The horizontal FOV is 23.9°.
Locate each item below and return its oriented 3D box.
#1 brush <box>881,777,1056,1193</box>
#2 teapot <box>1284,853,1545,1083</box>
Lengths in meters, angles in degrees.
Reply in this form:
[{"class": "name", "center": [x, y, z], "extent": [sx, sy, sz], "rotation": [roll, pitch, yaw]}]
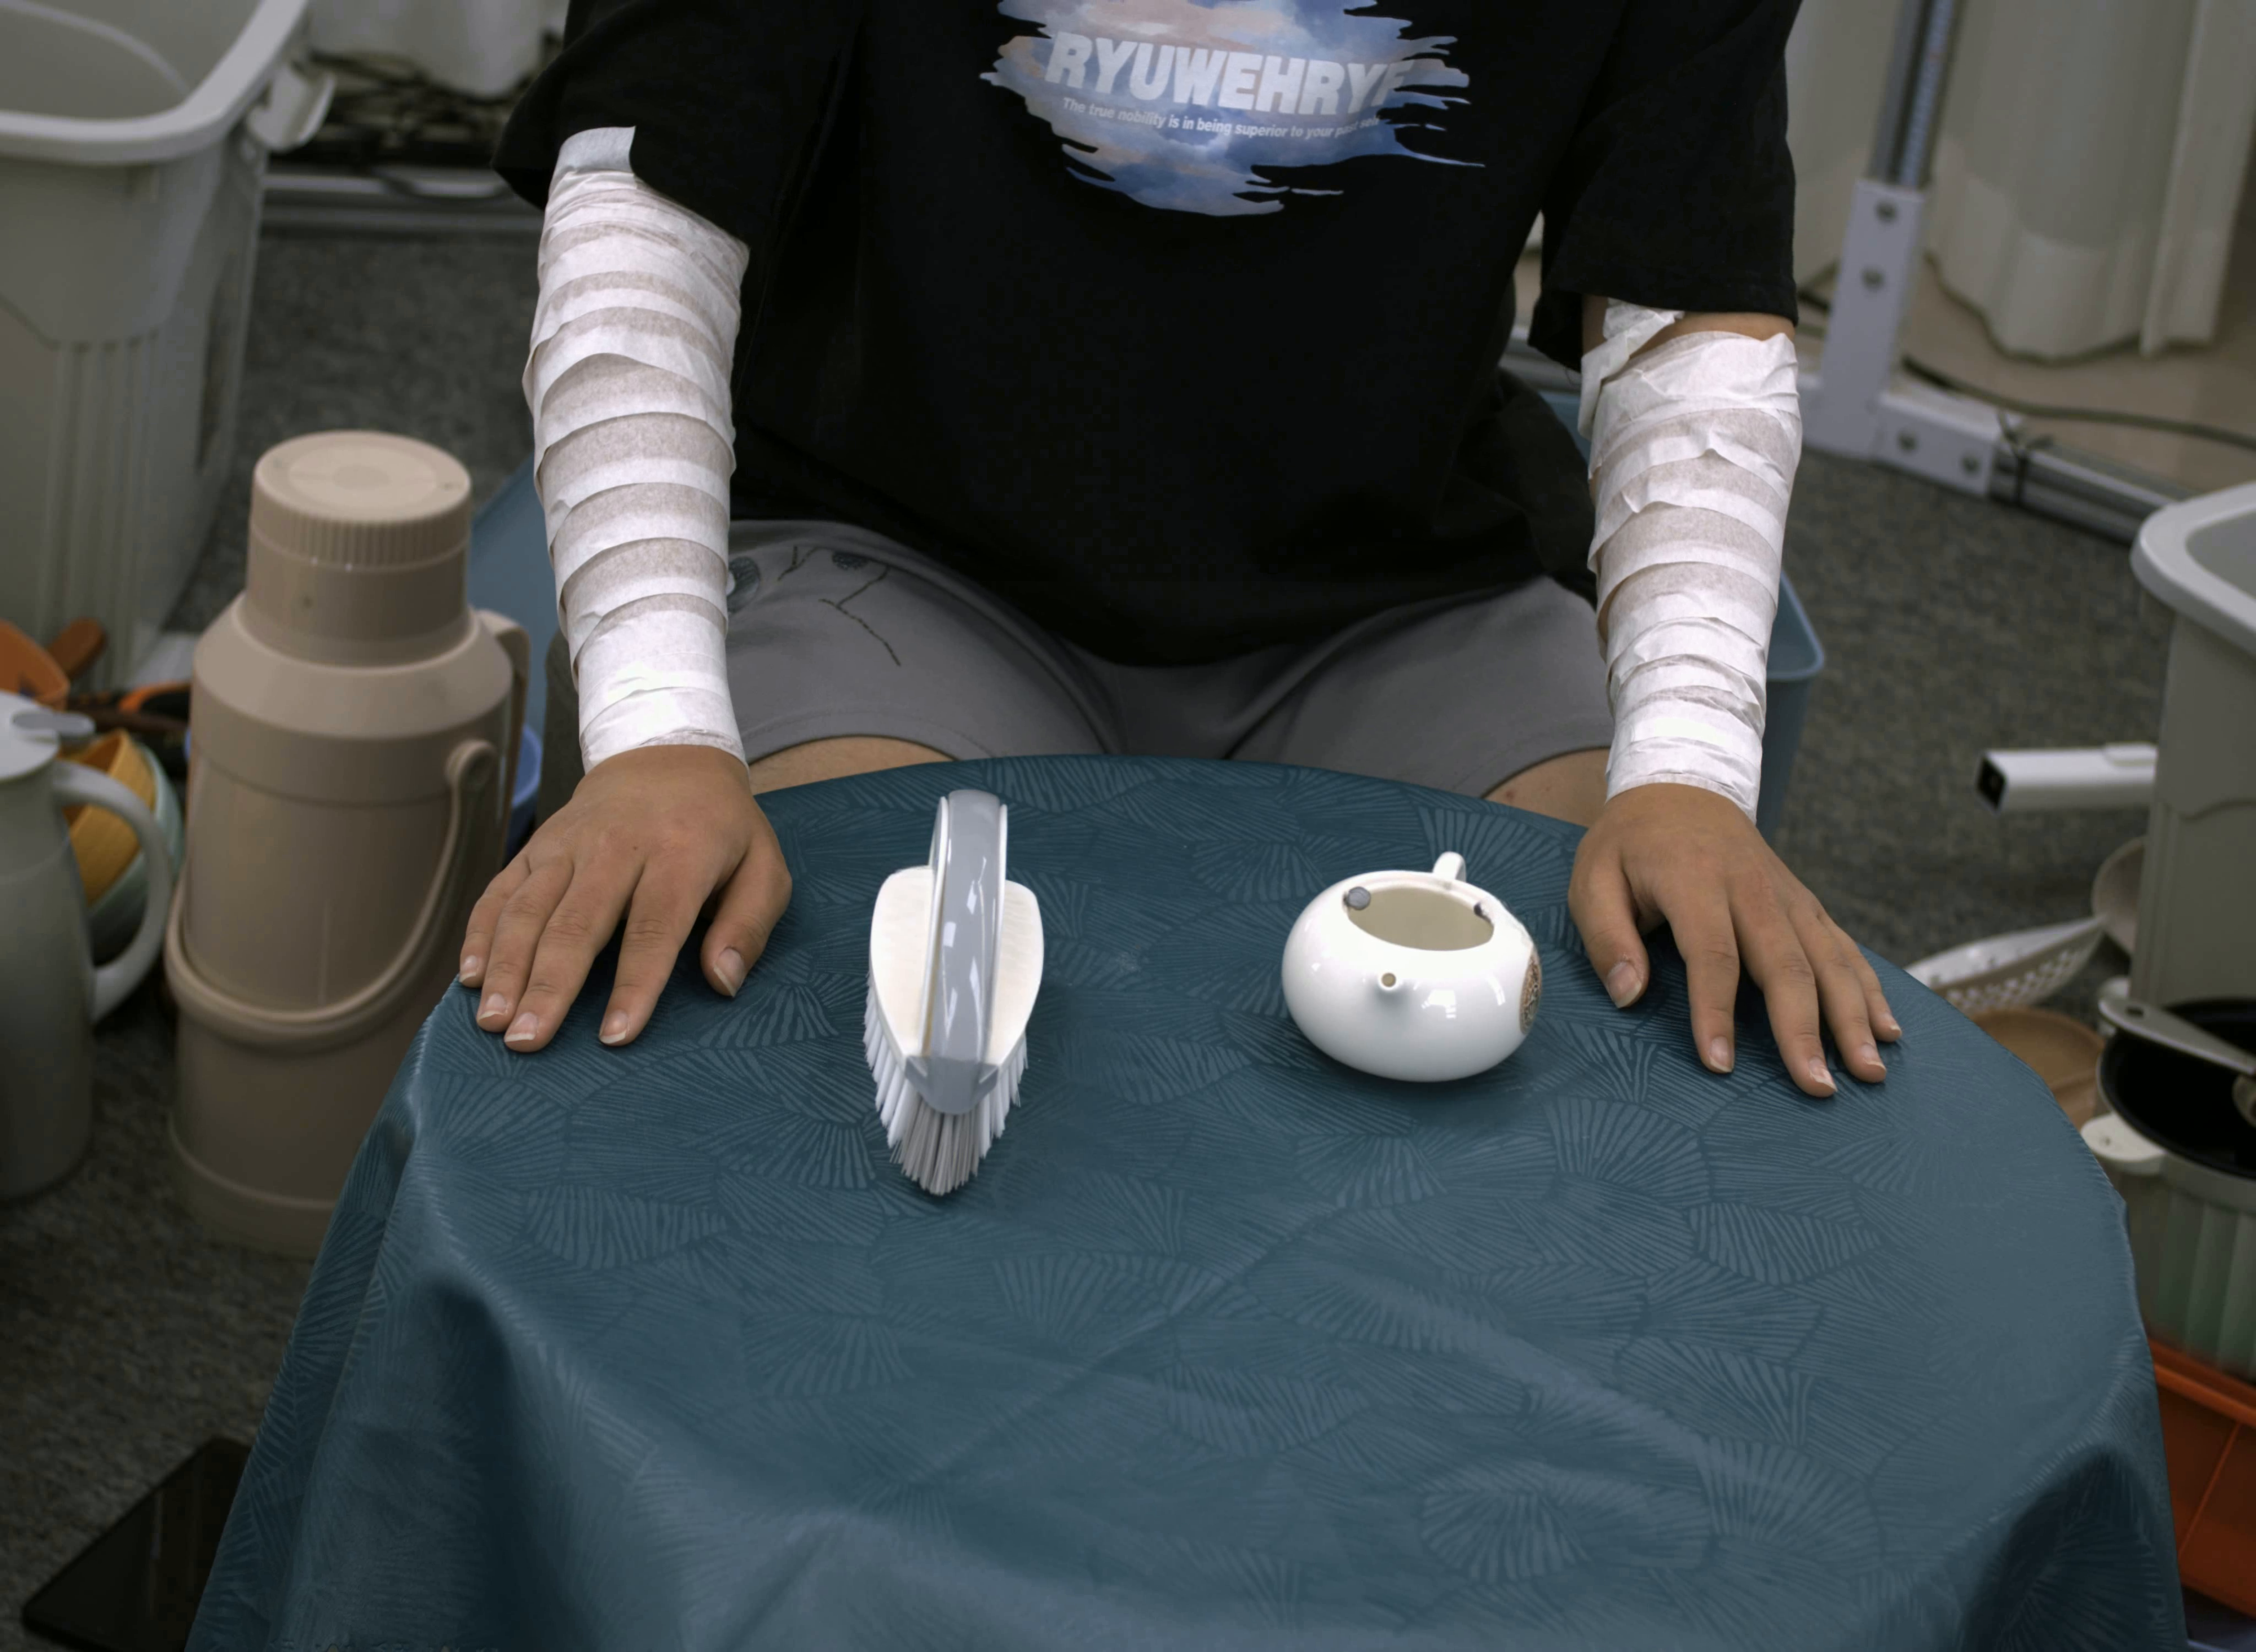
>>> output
[{"class": "brush", "center": [-0.056, 0.047, 1.842], "extent": [0.061, 0.094, 0.176], "rotation": [3, 28, -1]}, {"class": "teapot", "center": [0.105, 0.050, 1.913], "extent": [0.093, 0.056, 0.127], "rotation": [9, 26, 12]}]
